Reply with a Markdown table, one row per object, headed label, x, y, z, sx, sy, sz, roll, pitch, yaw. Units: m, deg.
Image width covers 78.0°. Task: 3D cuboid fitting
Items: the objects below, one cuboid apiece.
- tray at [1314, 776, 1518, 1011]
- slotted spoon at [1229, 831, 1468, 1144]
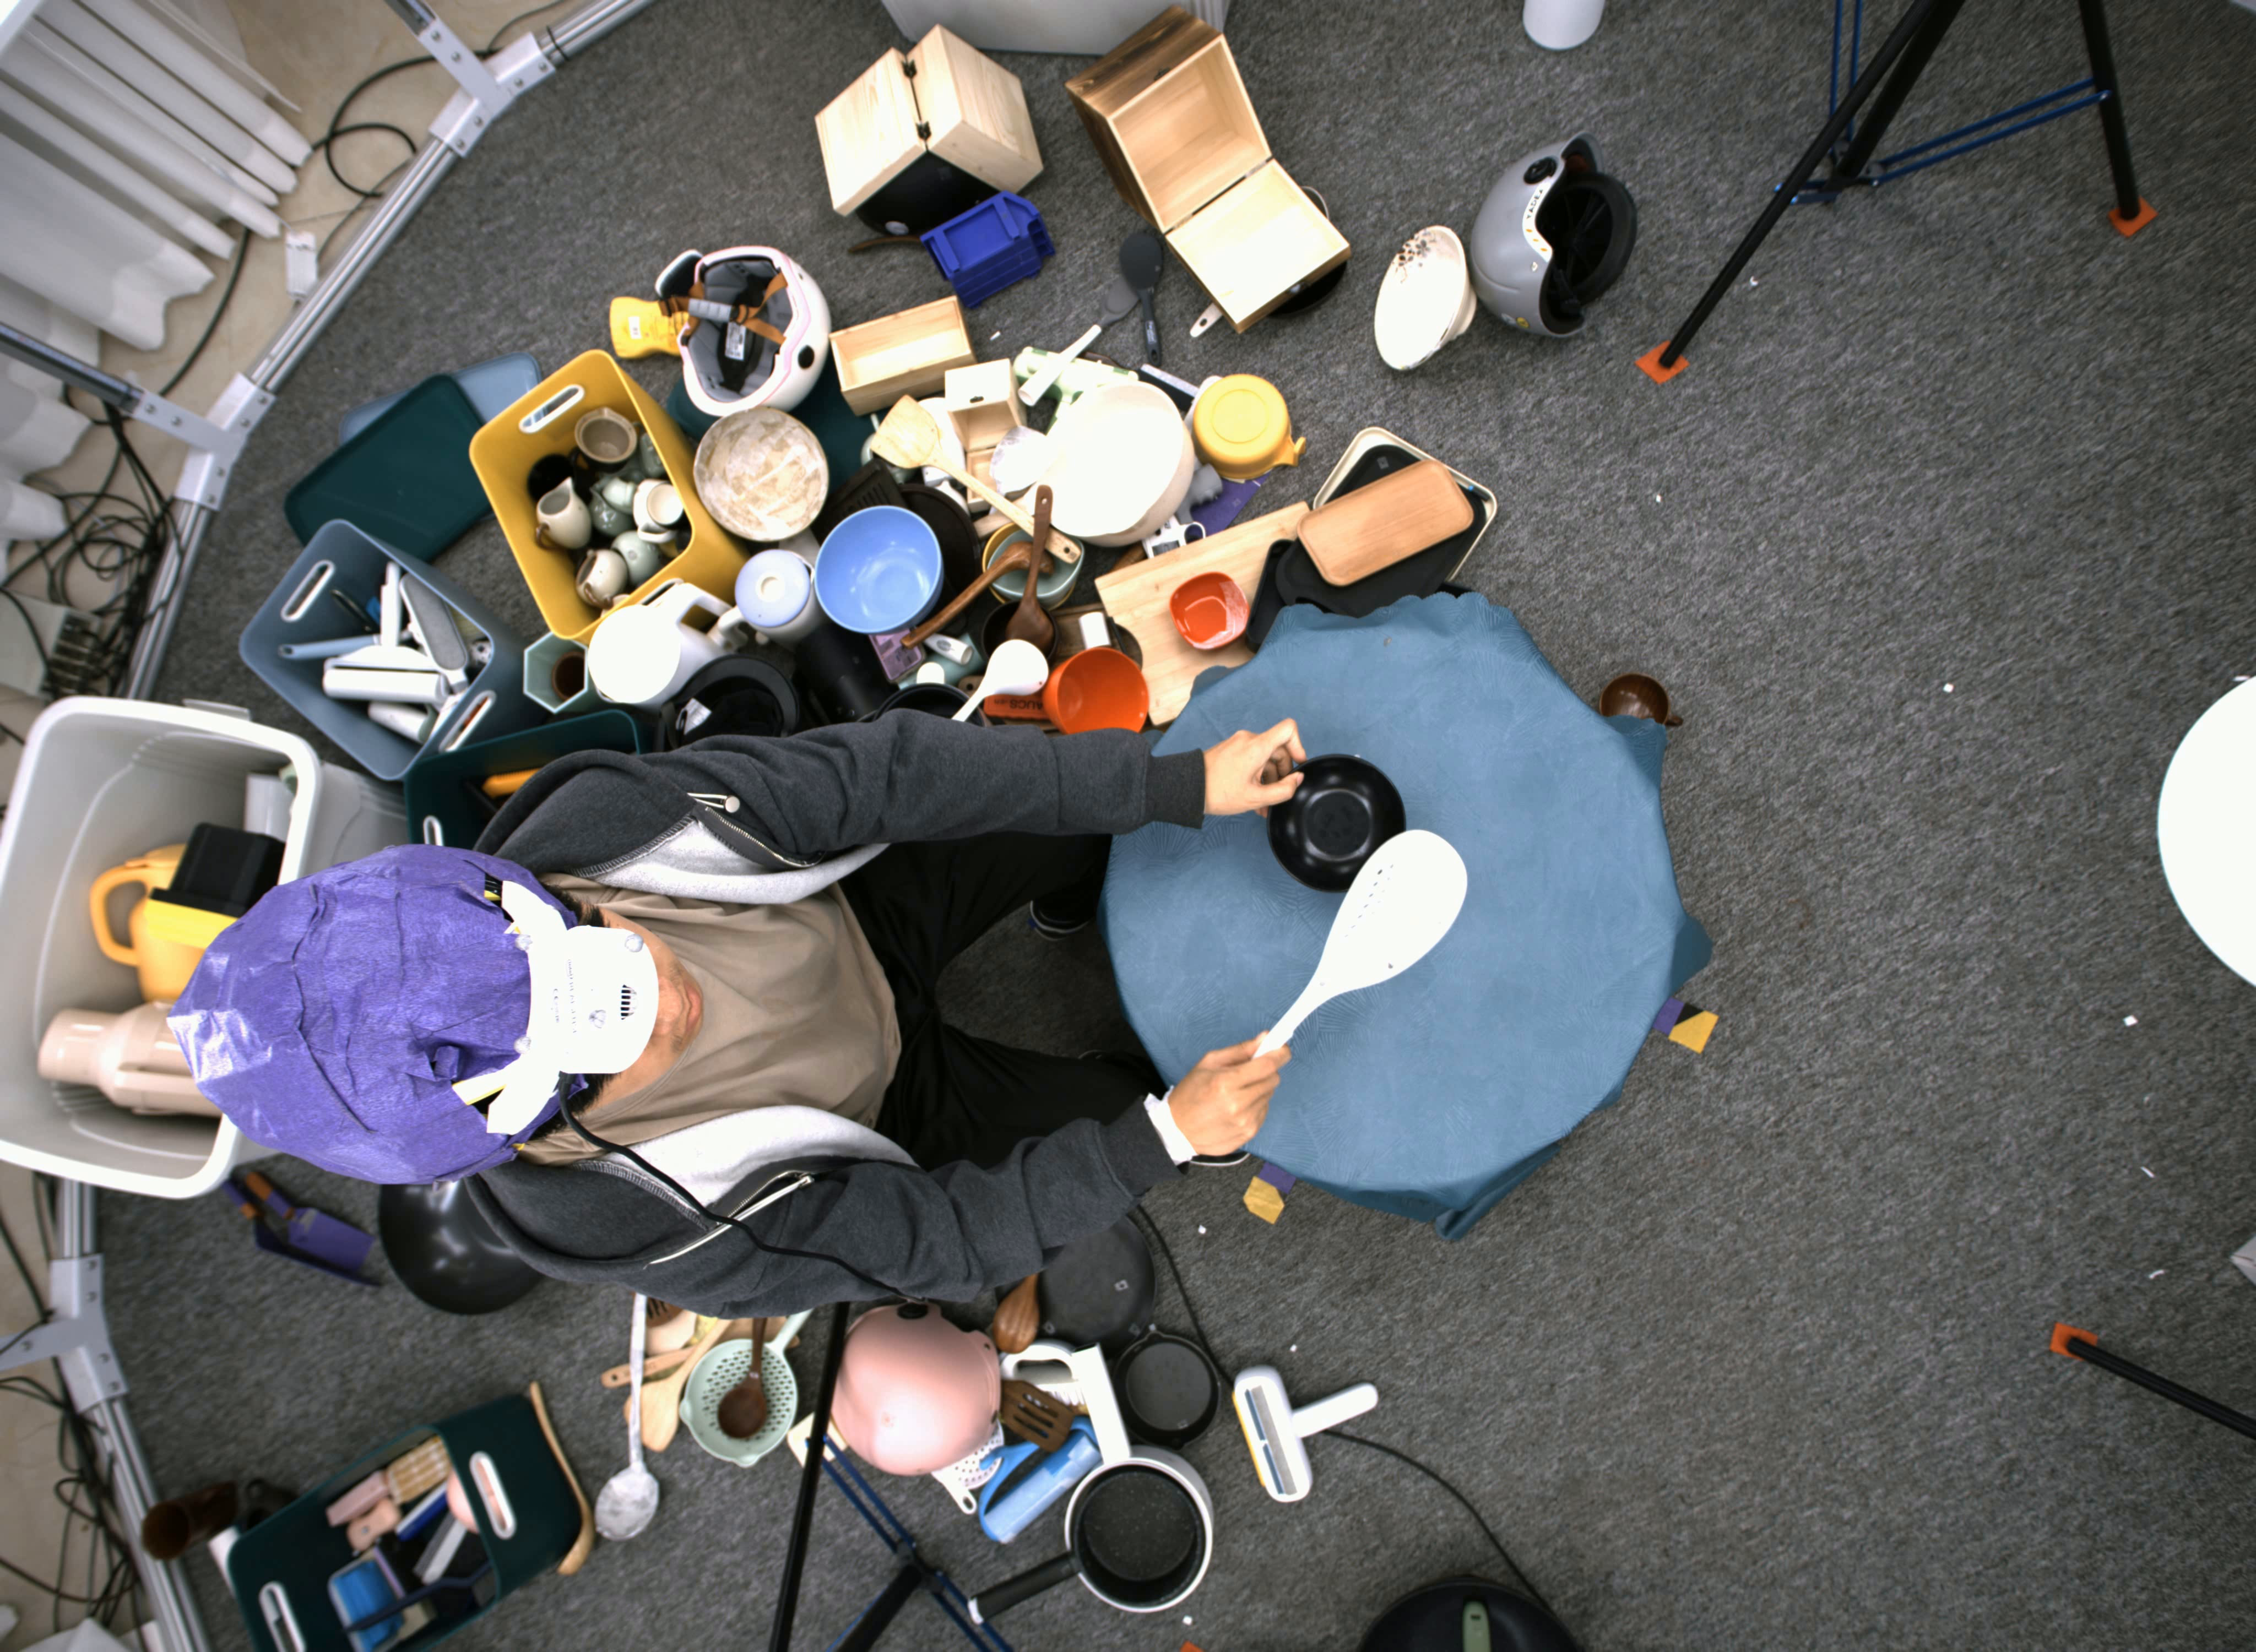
| label | x | y | z | sx | sy | sz | roll | pitch | yaw |
| --- | --- | --- | --- | --- | --- | --- | --- | --- | --- |
| tray | 0.414 | 0.094 | 1.987 | 0.191 | 0.027 | 0.300 | 27 | 91 | 11 |
| slotted spoon | 0.192 | 0.156 | 1.285 | 0.351 | 0.051 | 0.134 | -49 | 36 | 12 |
